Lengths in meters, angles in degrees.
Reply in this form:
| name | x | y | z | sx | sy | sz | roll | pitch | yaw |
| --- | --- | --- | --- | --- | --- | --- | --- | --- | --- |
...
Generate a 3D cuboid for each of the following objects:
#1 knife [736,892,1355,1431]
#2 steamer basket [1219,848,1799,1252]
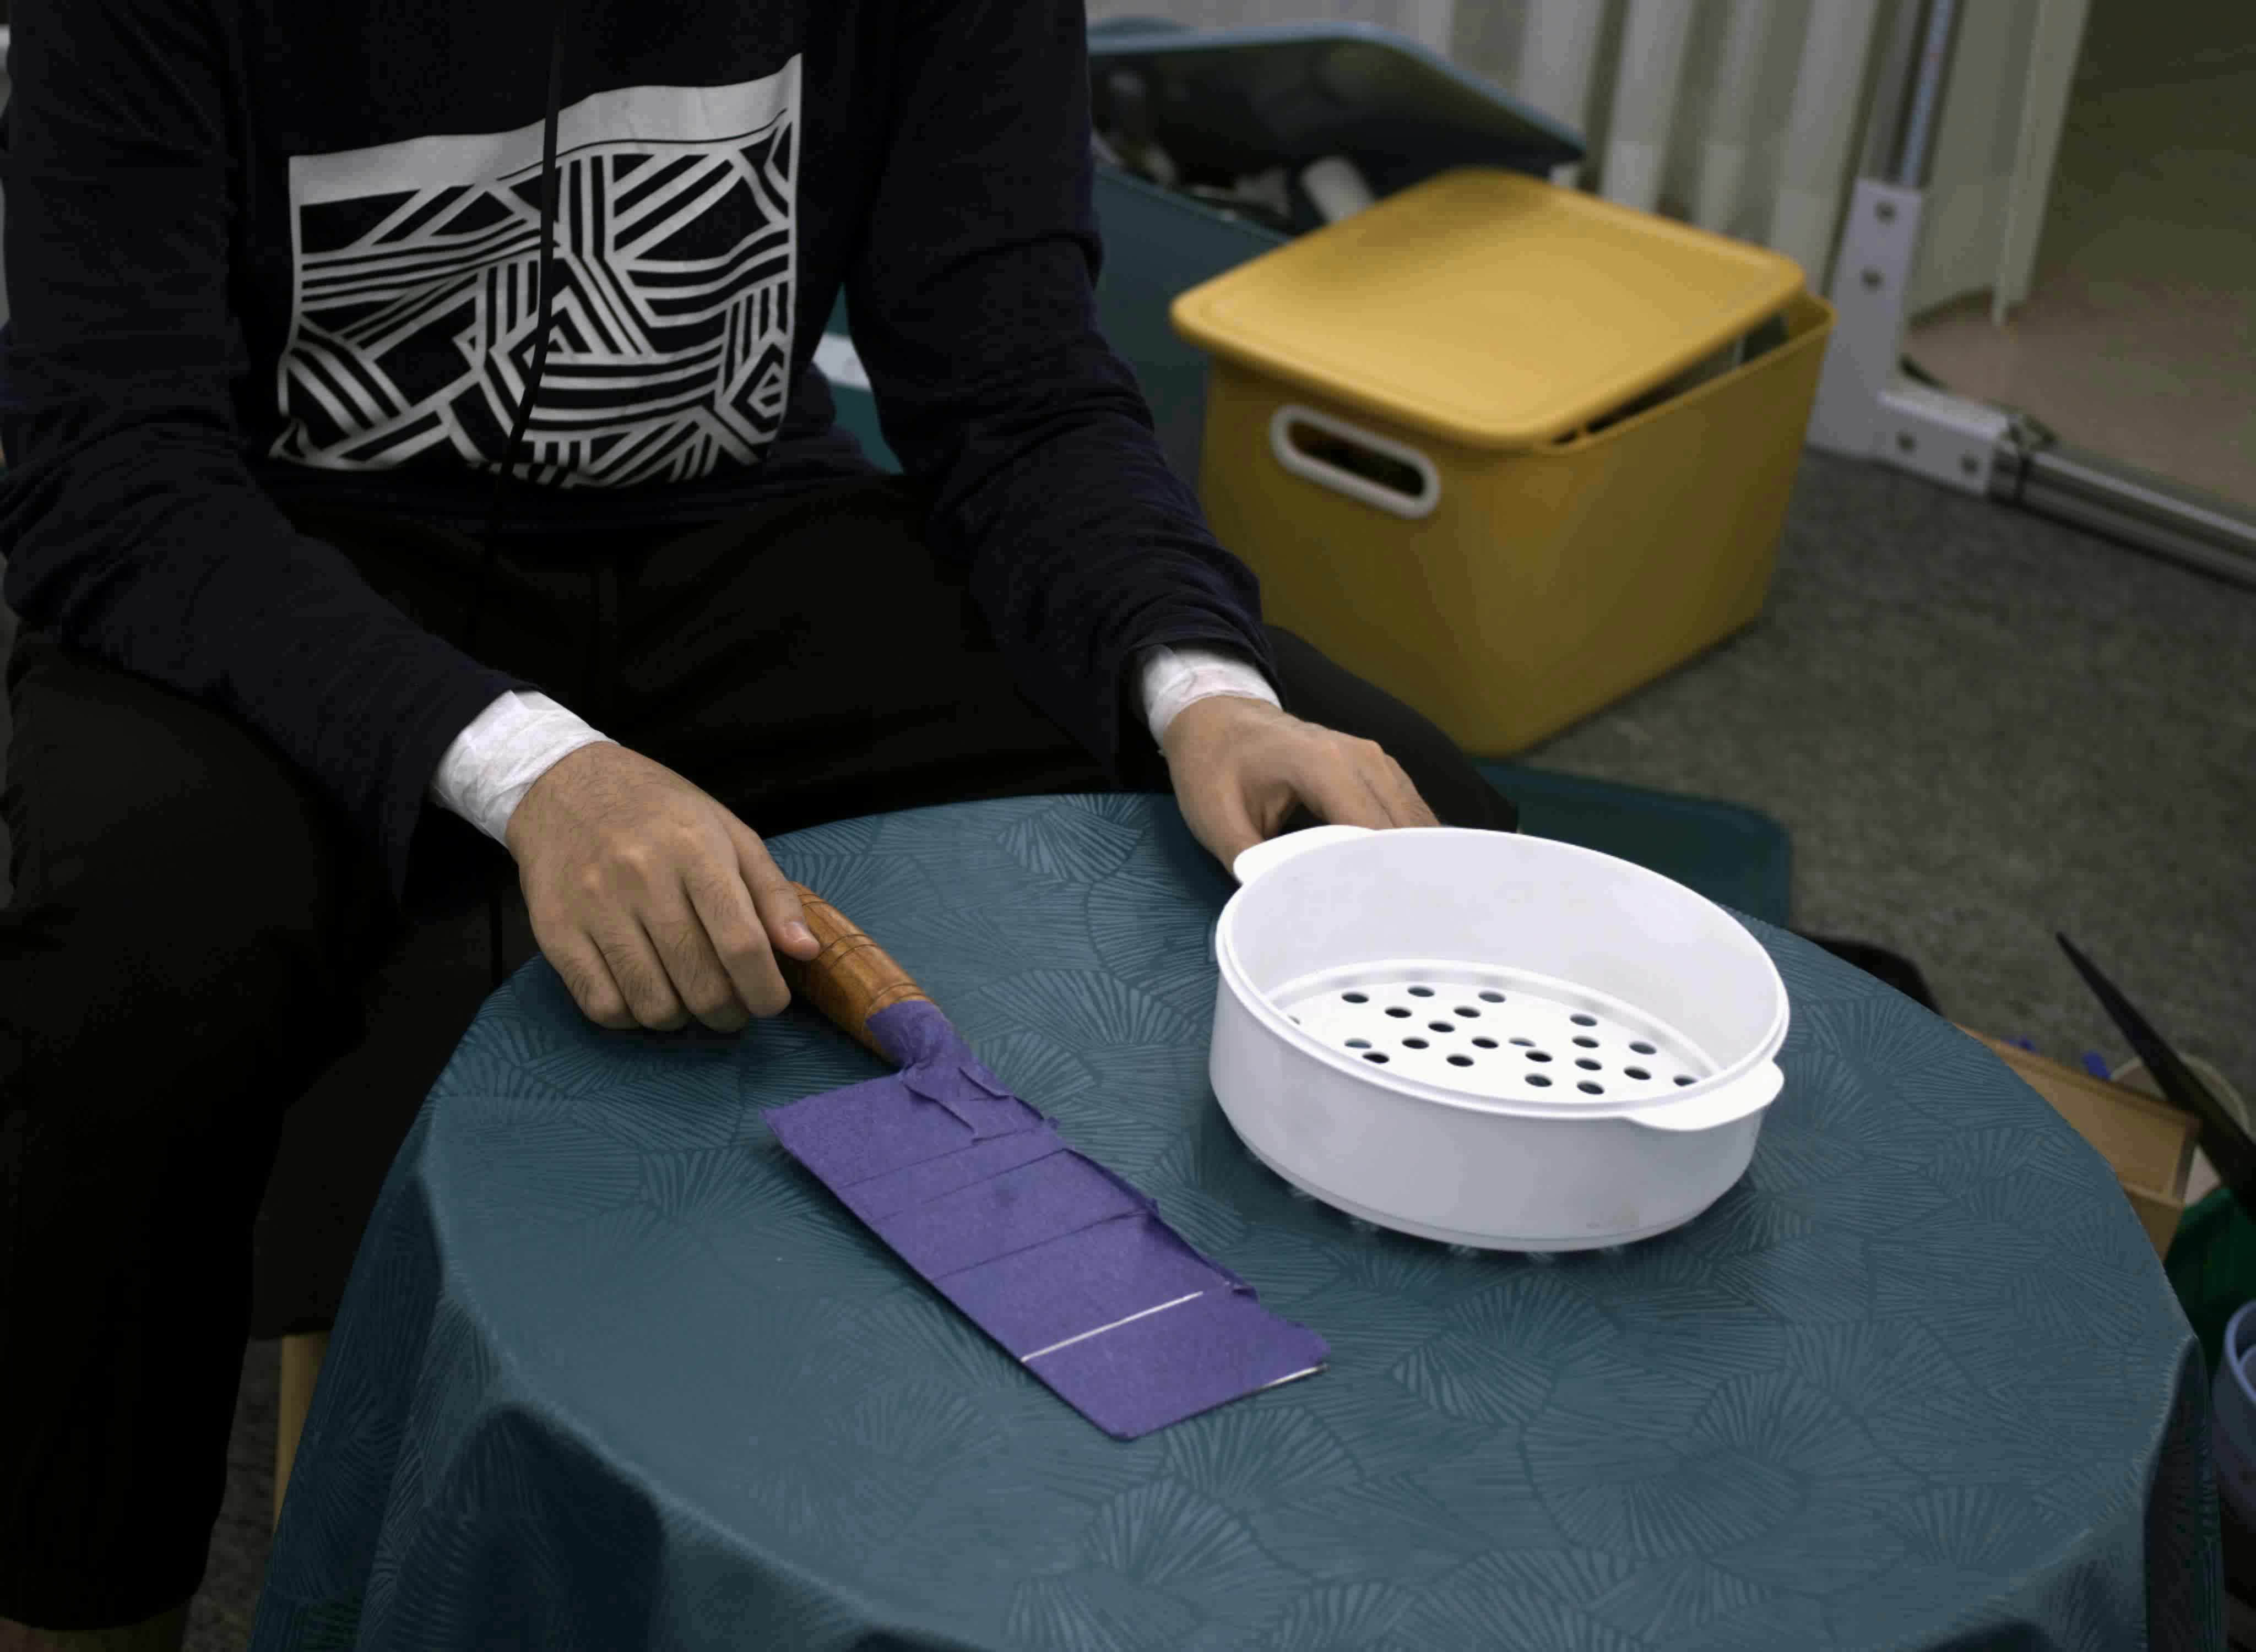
| name | x | y | z | sx | sy | sz | roll | pitch | yaw |
| --- | --- | --- | --- | --- | --- | --- | --- | --- | --- |
| knife | -0.059 | 0.109 | 1.793 | 0.103 | 0.032 | 0.318 | -14 | 34 | -35 |
| steamer basket | 0.130 | 0.078 | 1.853 | 0.201 | 0.069 | 0.232 | -16 | 31 | -39 |
